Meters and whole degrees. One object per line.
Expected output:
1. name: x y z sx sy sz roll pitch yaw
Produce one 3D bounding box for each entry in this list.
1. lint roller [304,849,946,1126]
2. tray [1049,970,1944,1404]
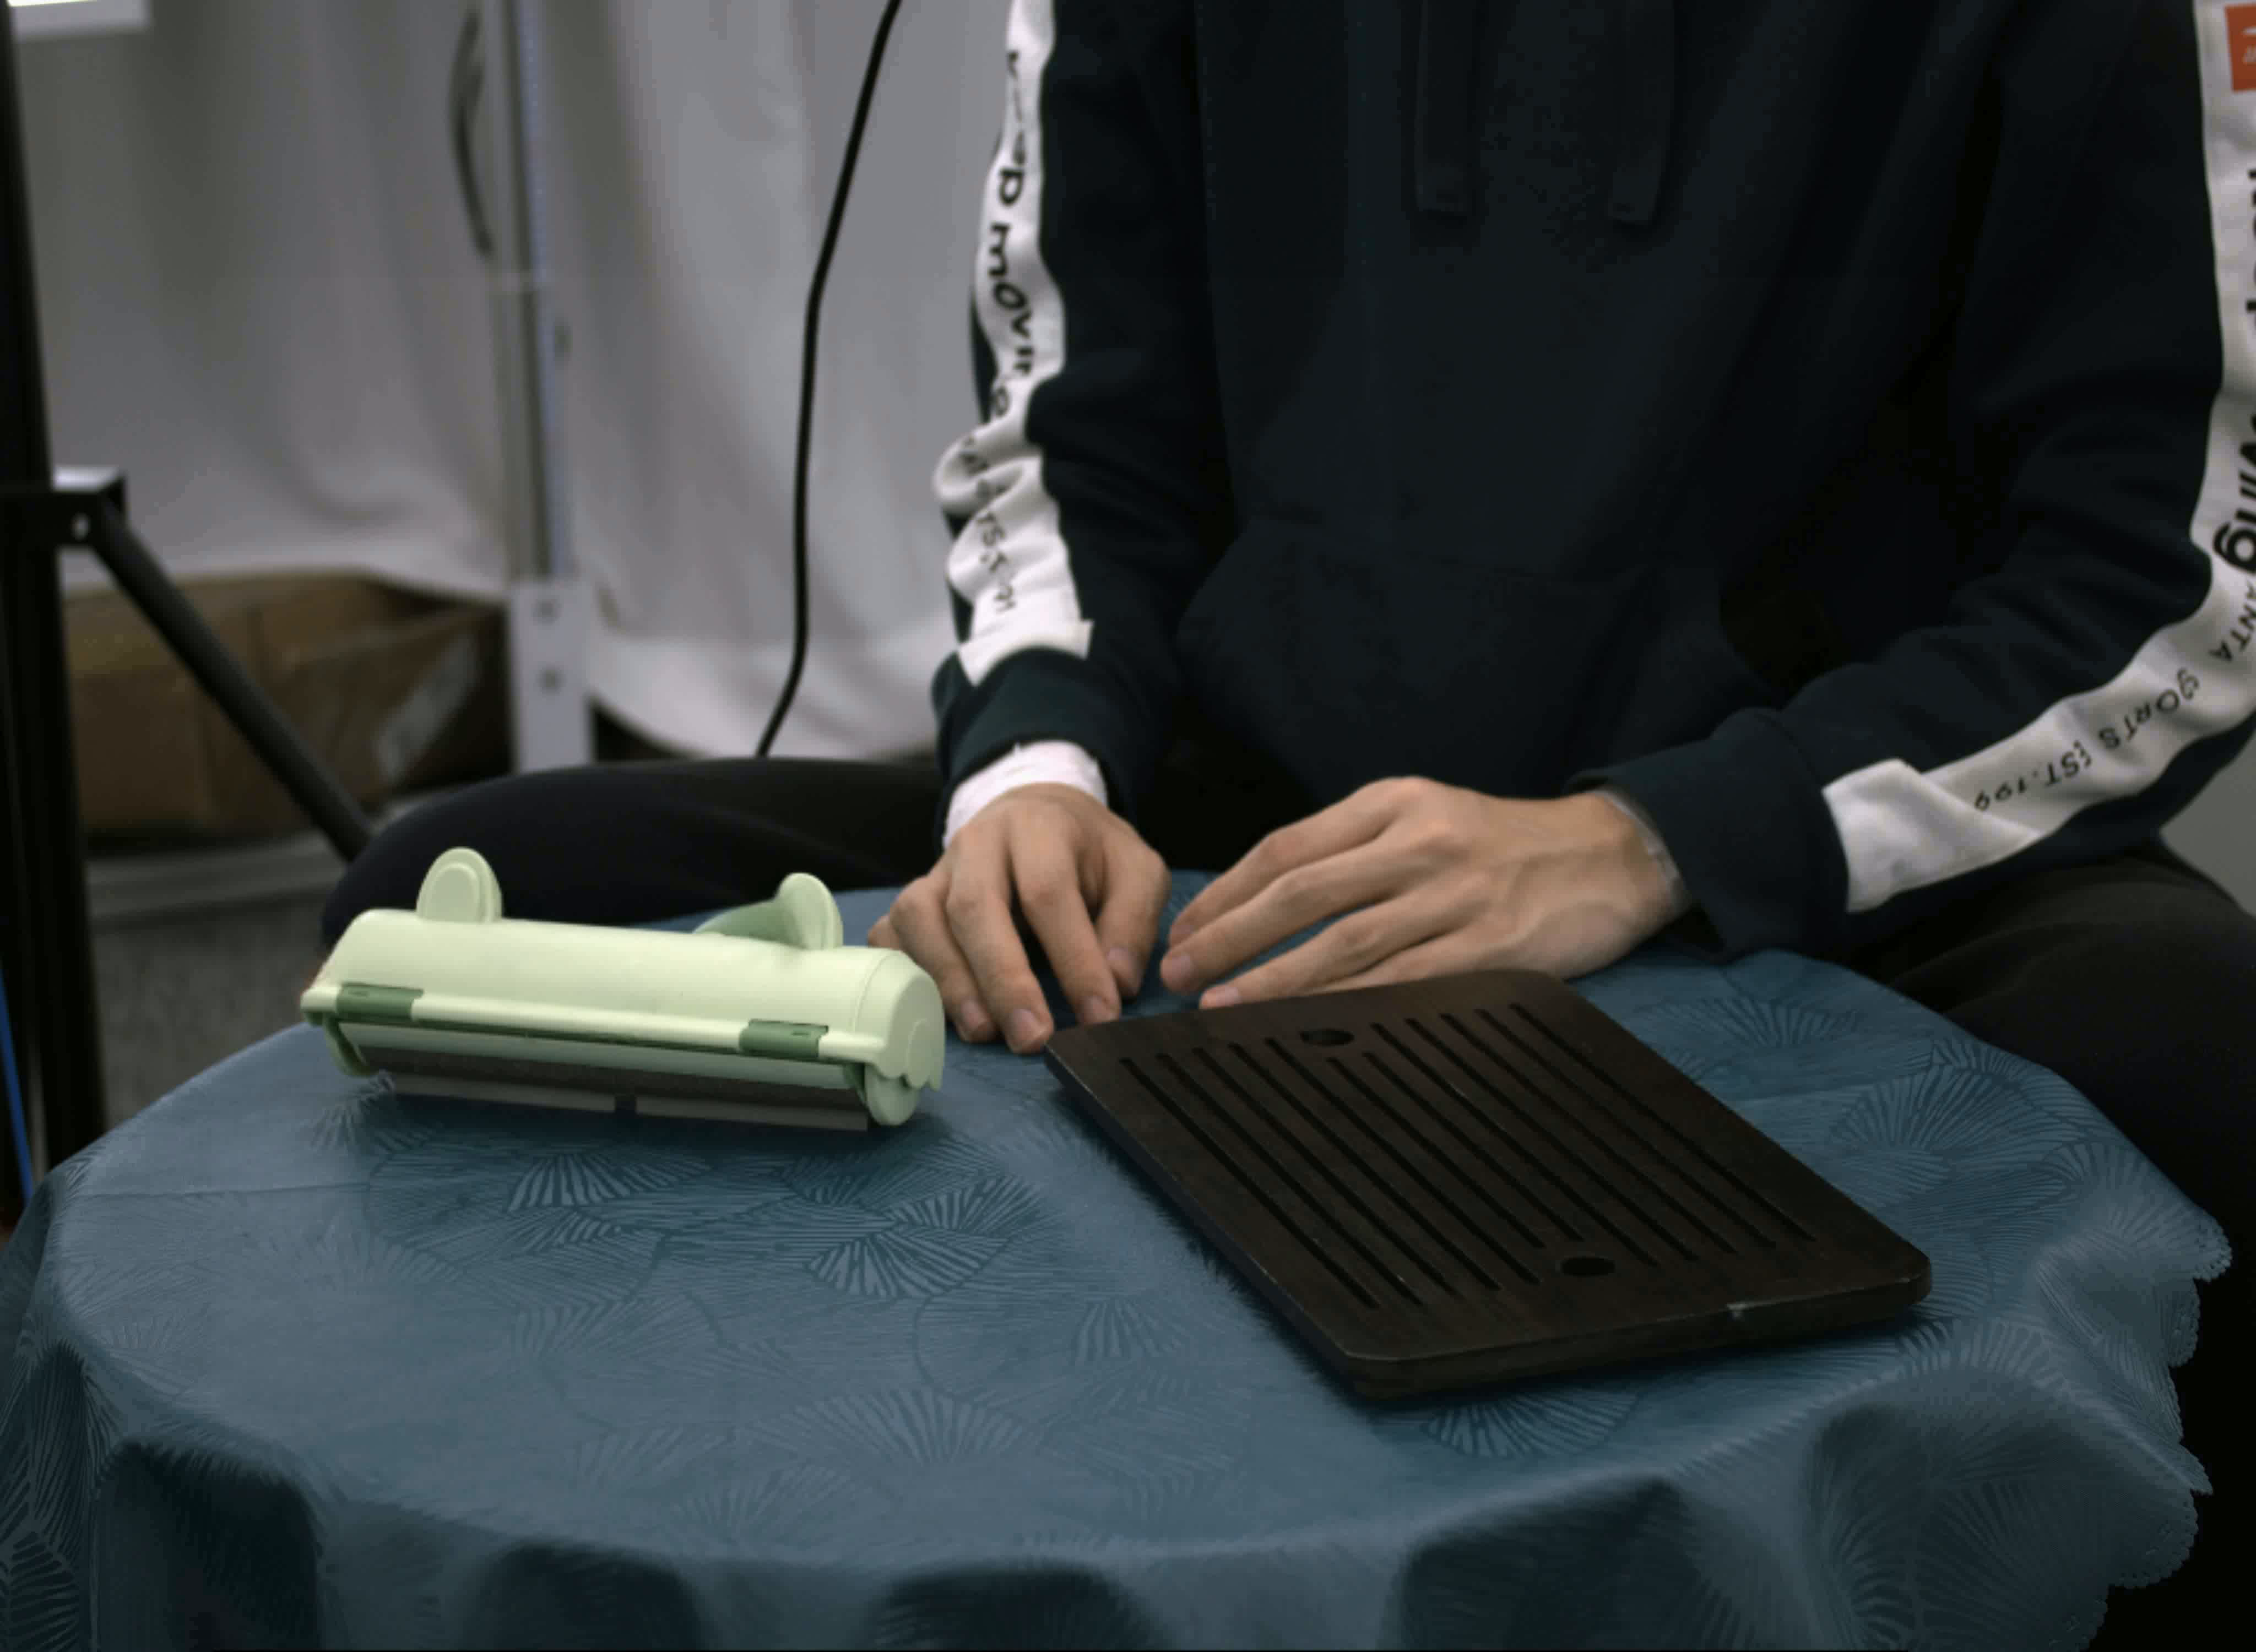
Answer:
1. lint roller: -0.136 0.035 1.694 0.201 0.082 0.181 3 20 22
2. tray: 0.098 0.100 1.535 0.167 0.018 0.311 -8 16 -15
